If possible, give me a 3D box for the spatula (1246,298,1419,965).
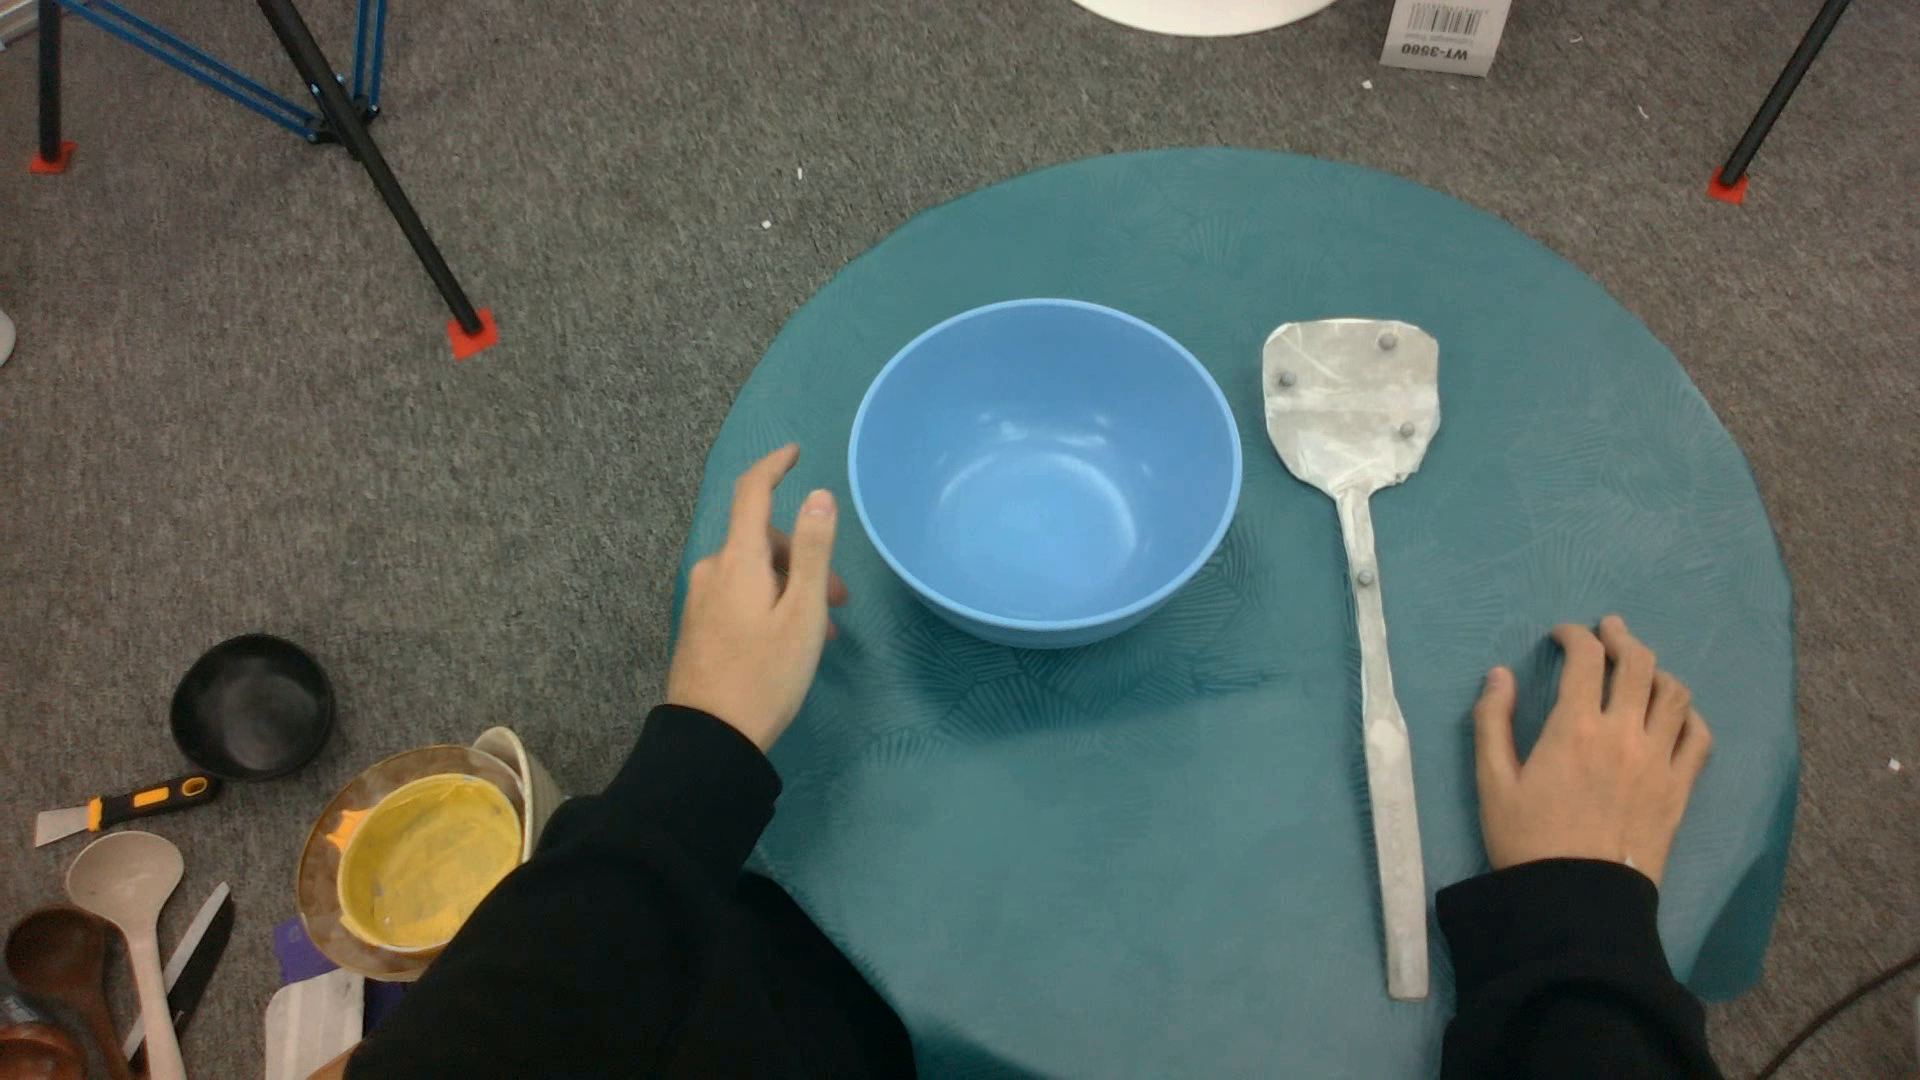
[{"bbox_3d":[0.203,0.032,0.718,0.099,0.044,0.366,3,61,1],"label":"spatula"}]

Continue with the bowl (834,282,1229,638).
[{"bbox_3d":[0.036,-0.029,0.724,0.196,0.095,0.197,0,62,0],"label":"bowl"}]
